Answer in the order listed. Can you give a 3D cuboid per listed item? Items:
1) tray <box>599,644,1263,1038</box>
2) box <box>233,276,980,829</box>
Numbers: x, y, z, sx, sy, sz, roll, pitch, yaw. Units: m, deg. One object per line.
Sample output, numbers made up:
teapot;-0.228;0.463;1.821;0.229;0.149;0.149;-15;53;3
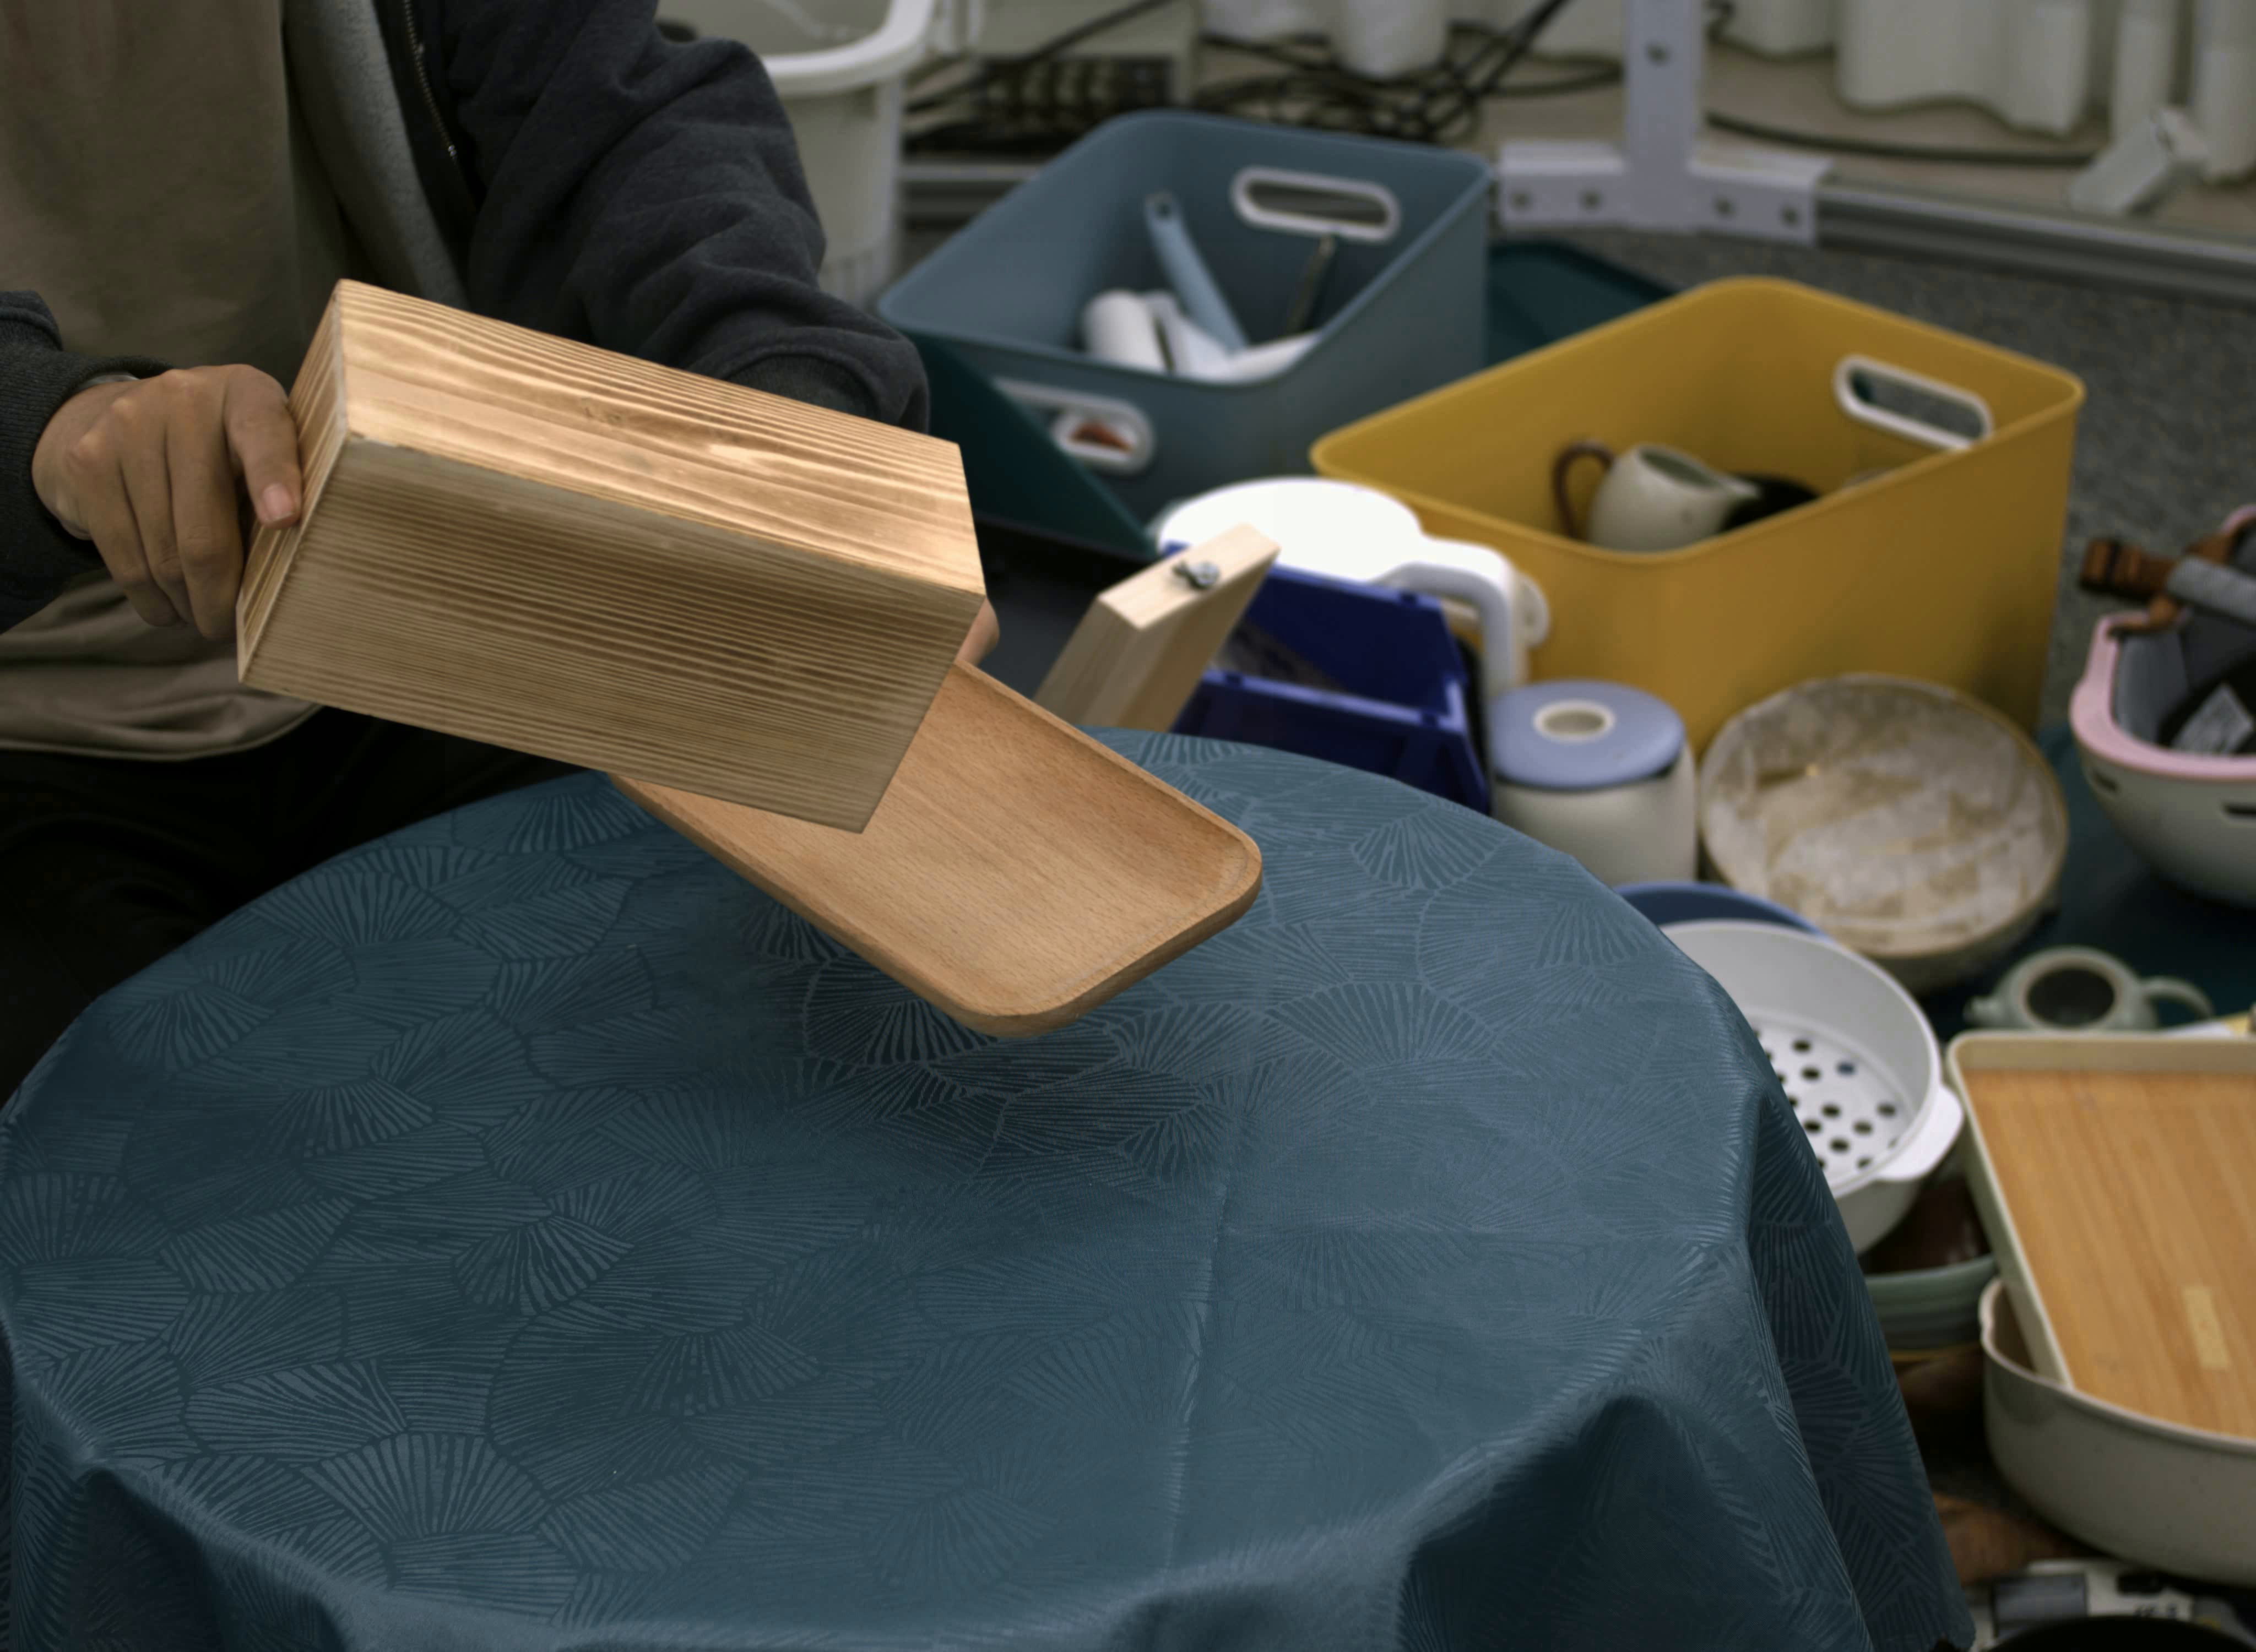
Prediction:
tray;-0.071;-0.004;1.938;0.132;0.022;0.251;-27;39;-30
box;-0.166;-0.084;1.785;0.211;0.106;0.081;14;37;-21
